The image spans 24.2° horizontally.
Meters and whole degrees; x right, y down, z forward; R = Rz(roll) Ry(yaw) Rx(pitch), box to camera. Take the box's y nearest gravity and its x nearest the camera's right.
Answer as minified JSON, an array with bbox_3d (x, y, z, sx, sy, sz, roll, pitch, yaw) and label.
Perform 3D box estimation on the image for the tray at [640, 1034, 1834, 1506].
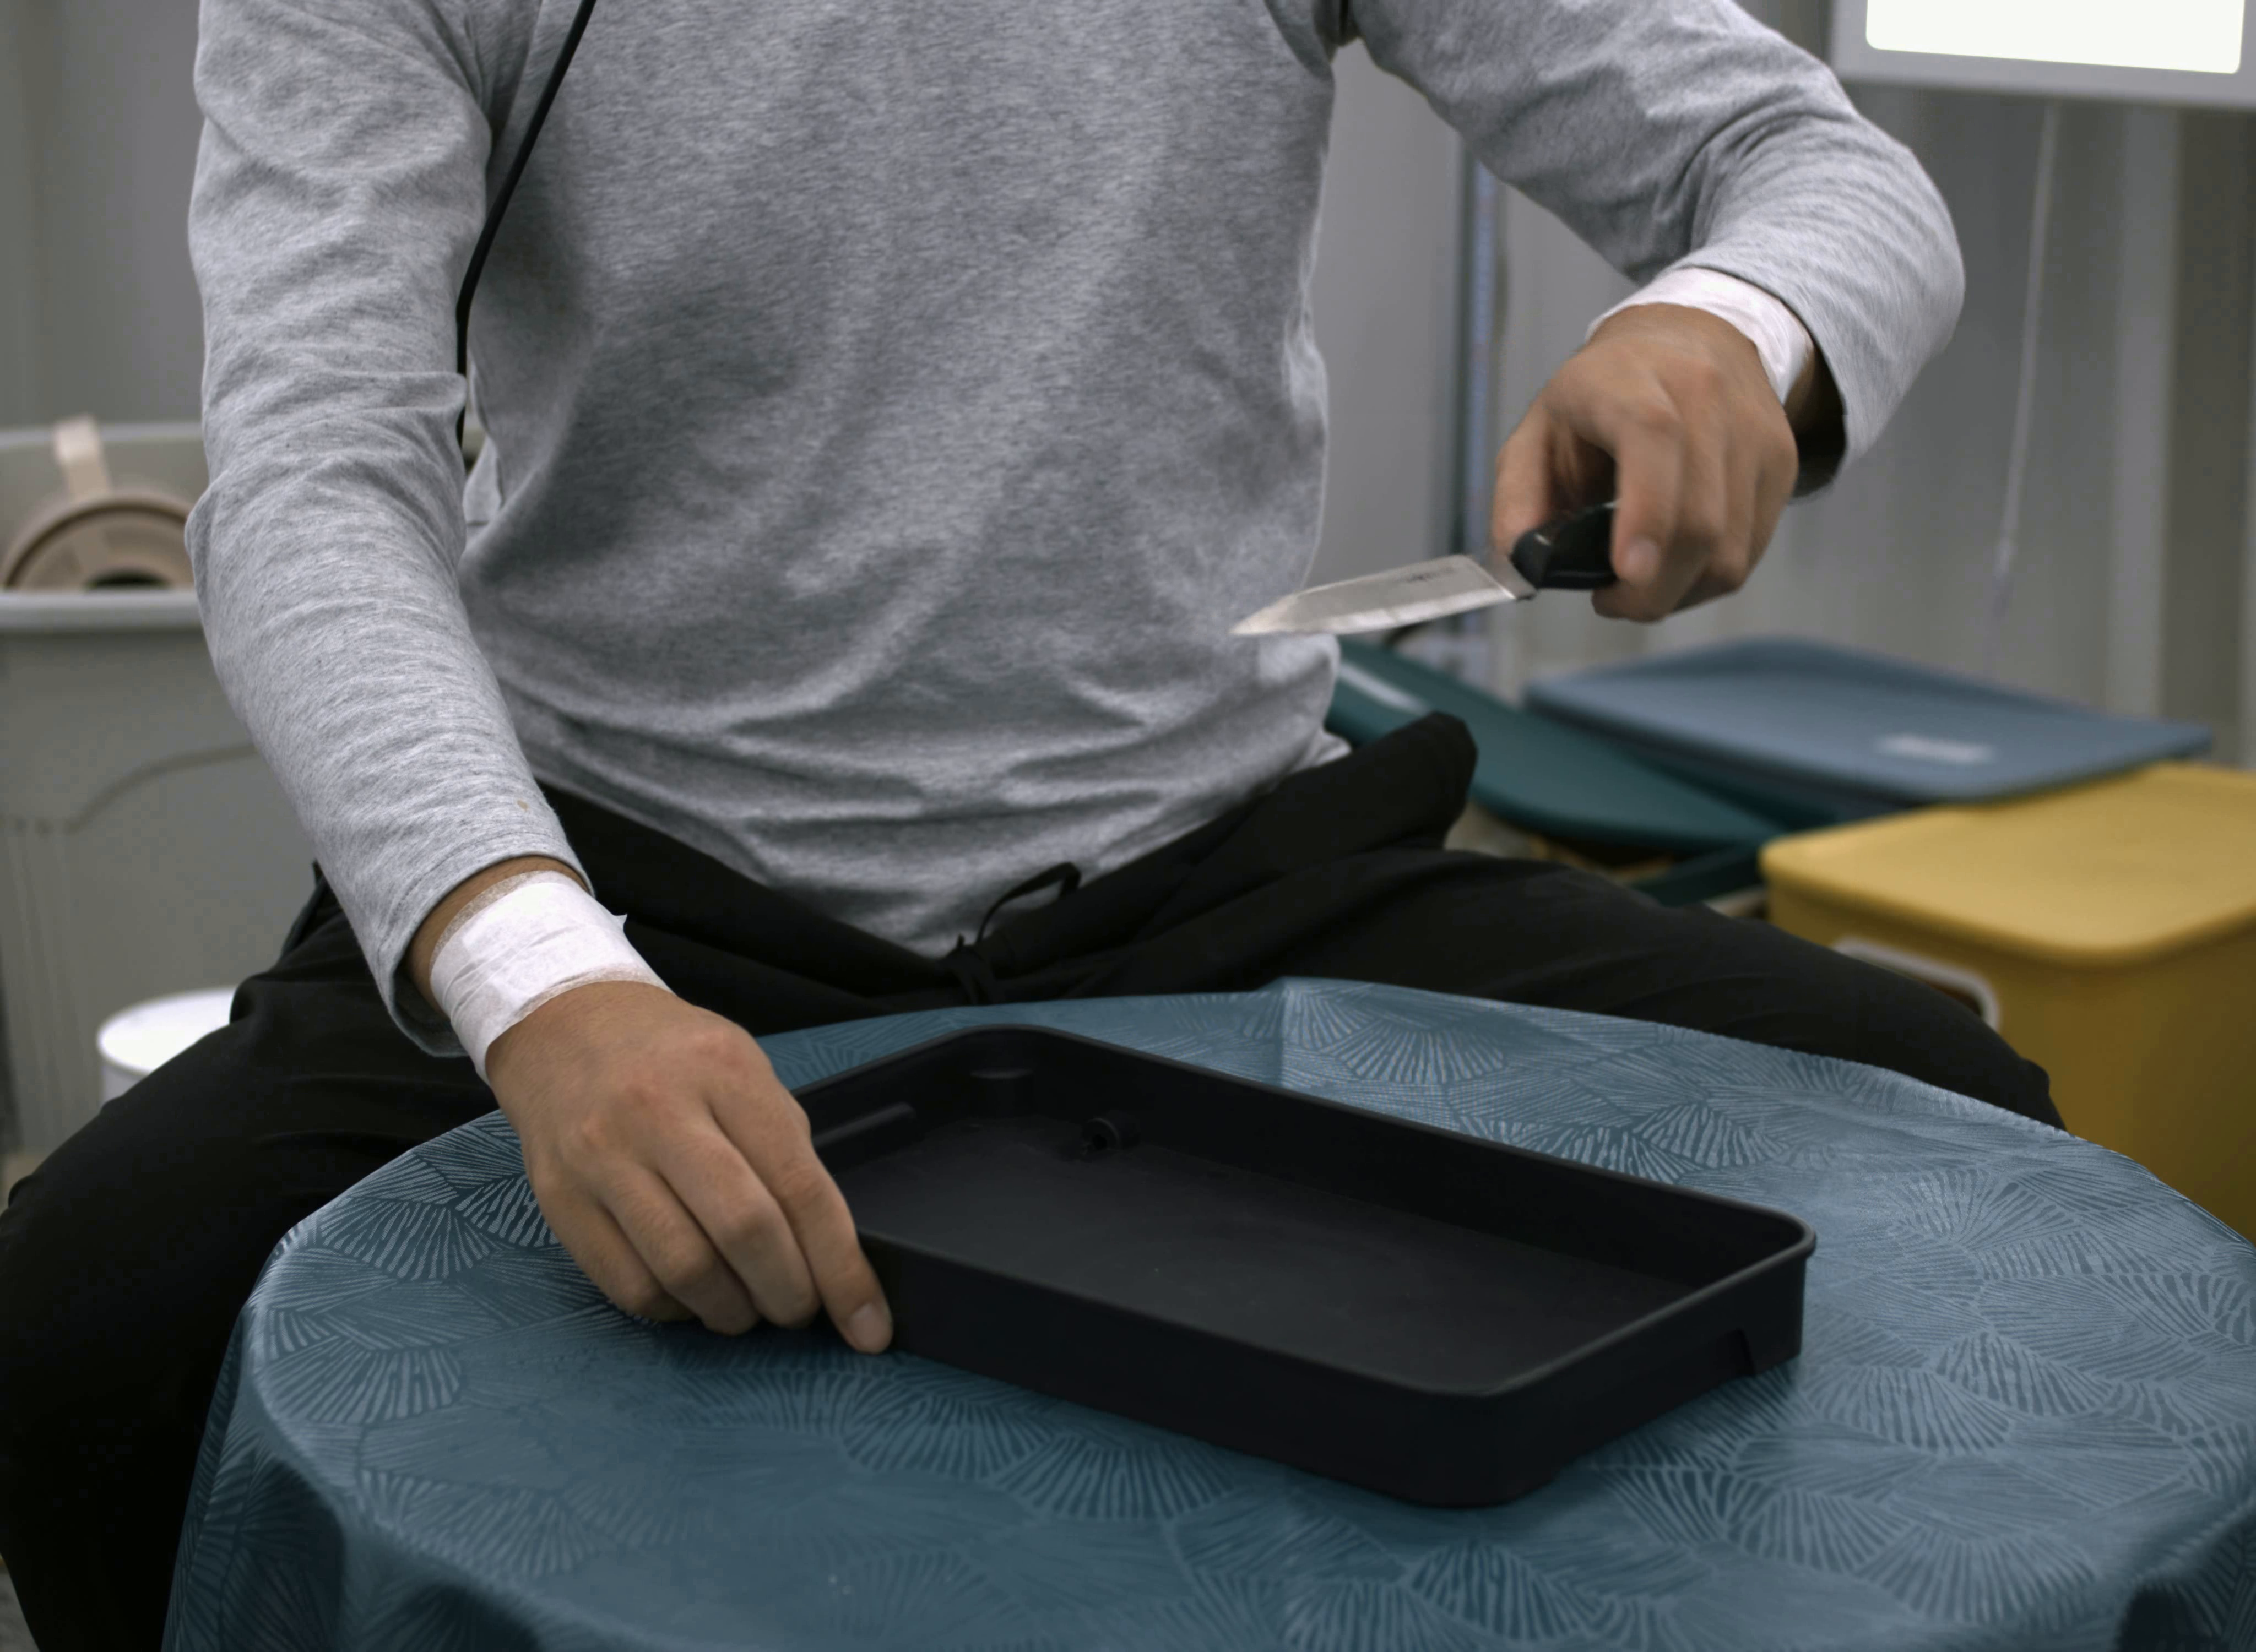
[{"bbox_3d":[0.029,0.123,1.523,0.314,0.037,0.185,11,18,35],"label":"tray"}]

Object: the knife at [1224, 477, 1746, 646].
[{"bbox_3d":[0.103,-0.076,1.523,0.239,0.016,0.024,-17,56,-47],"label":"knife"}]
